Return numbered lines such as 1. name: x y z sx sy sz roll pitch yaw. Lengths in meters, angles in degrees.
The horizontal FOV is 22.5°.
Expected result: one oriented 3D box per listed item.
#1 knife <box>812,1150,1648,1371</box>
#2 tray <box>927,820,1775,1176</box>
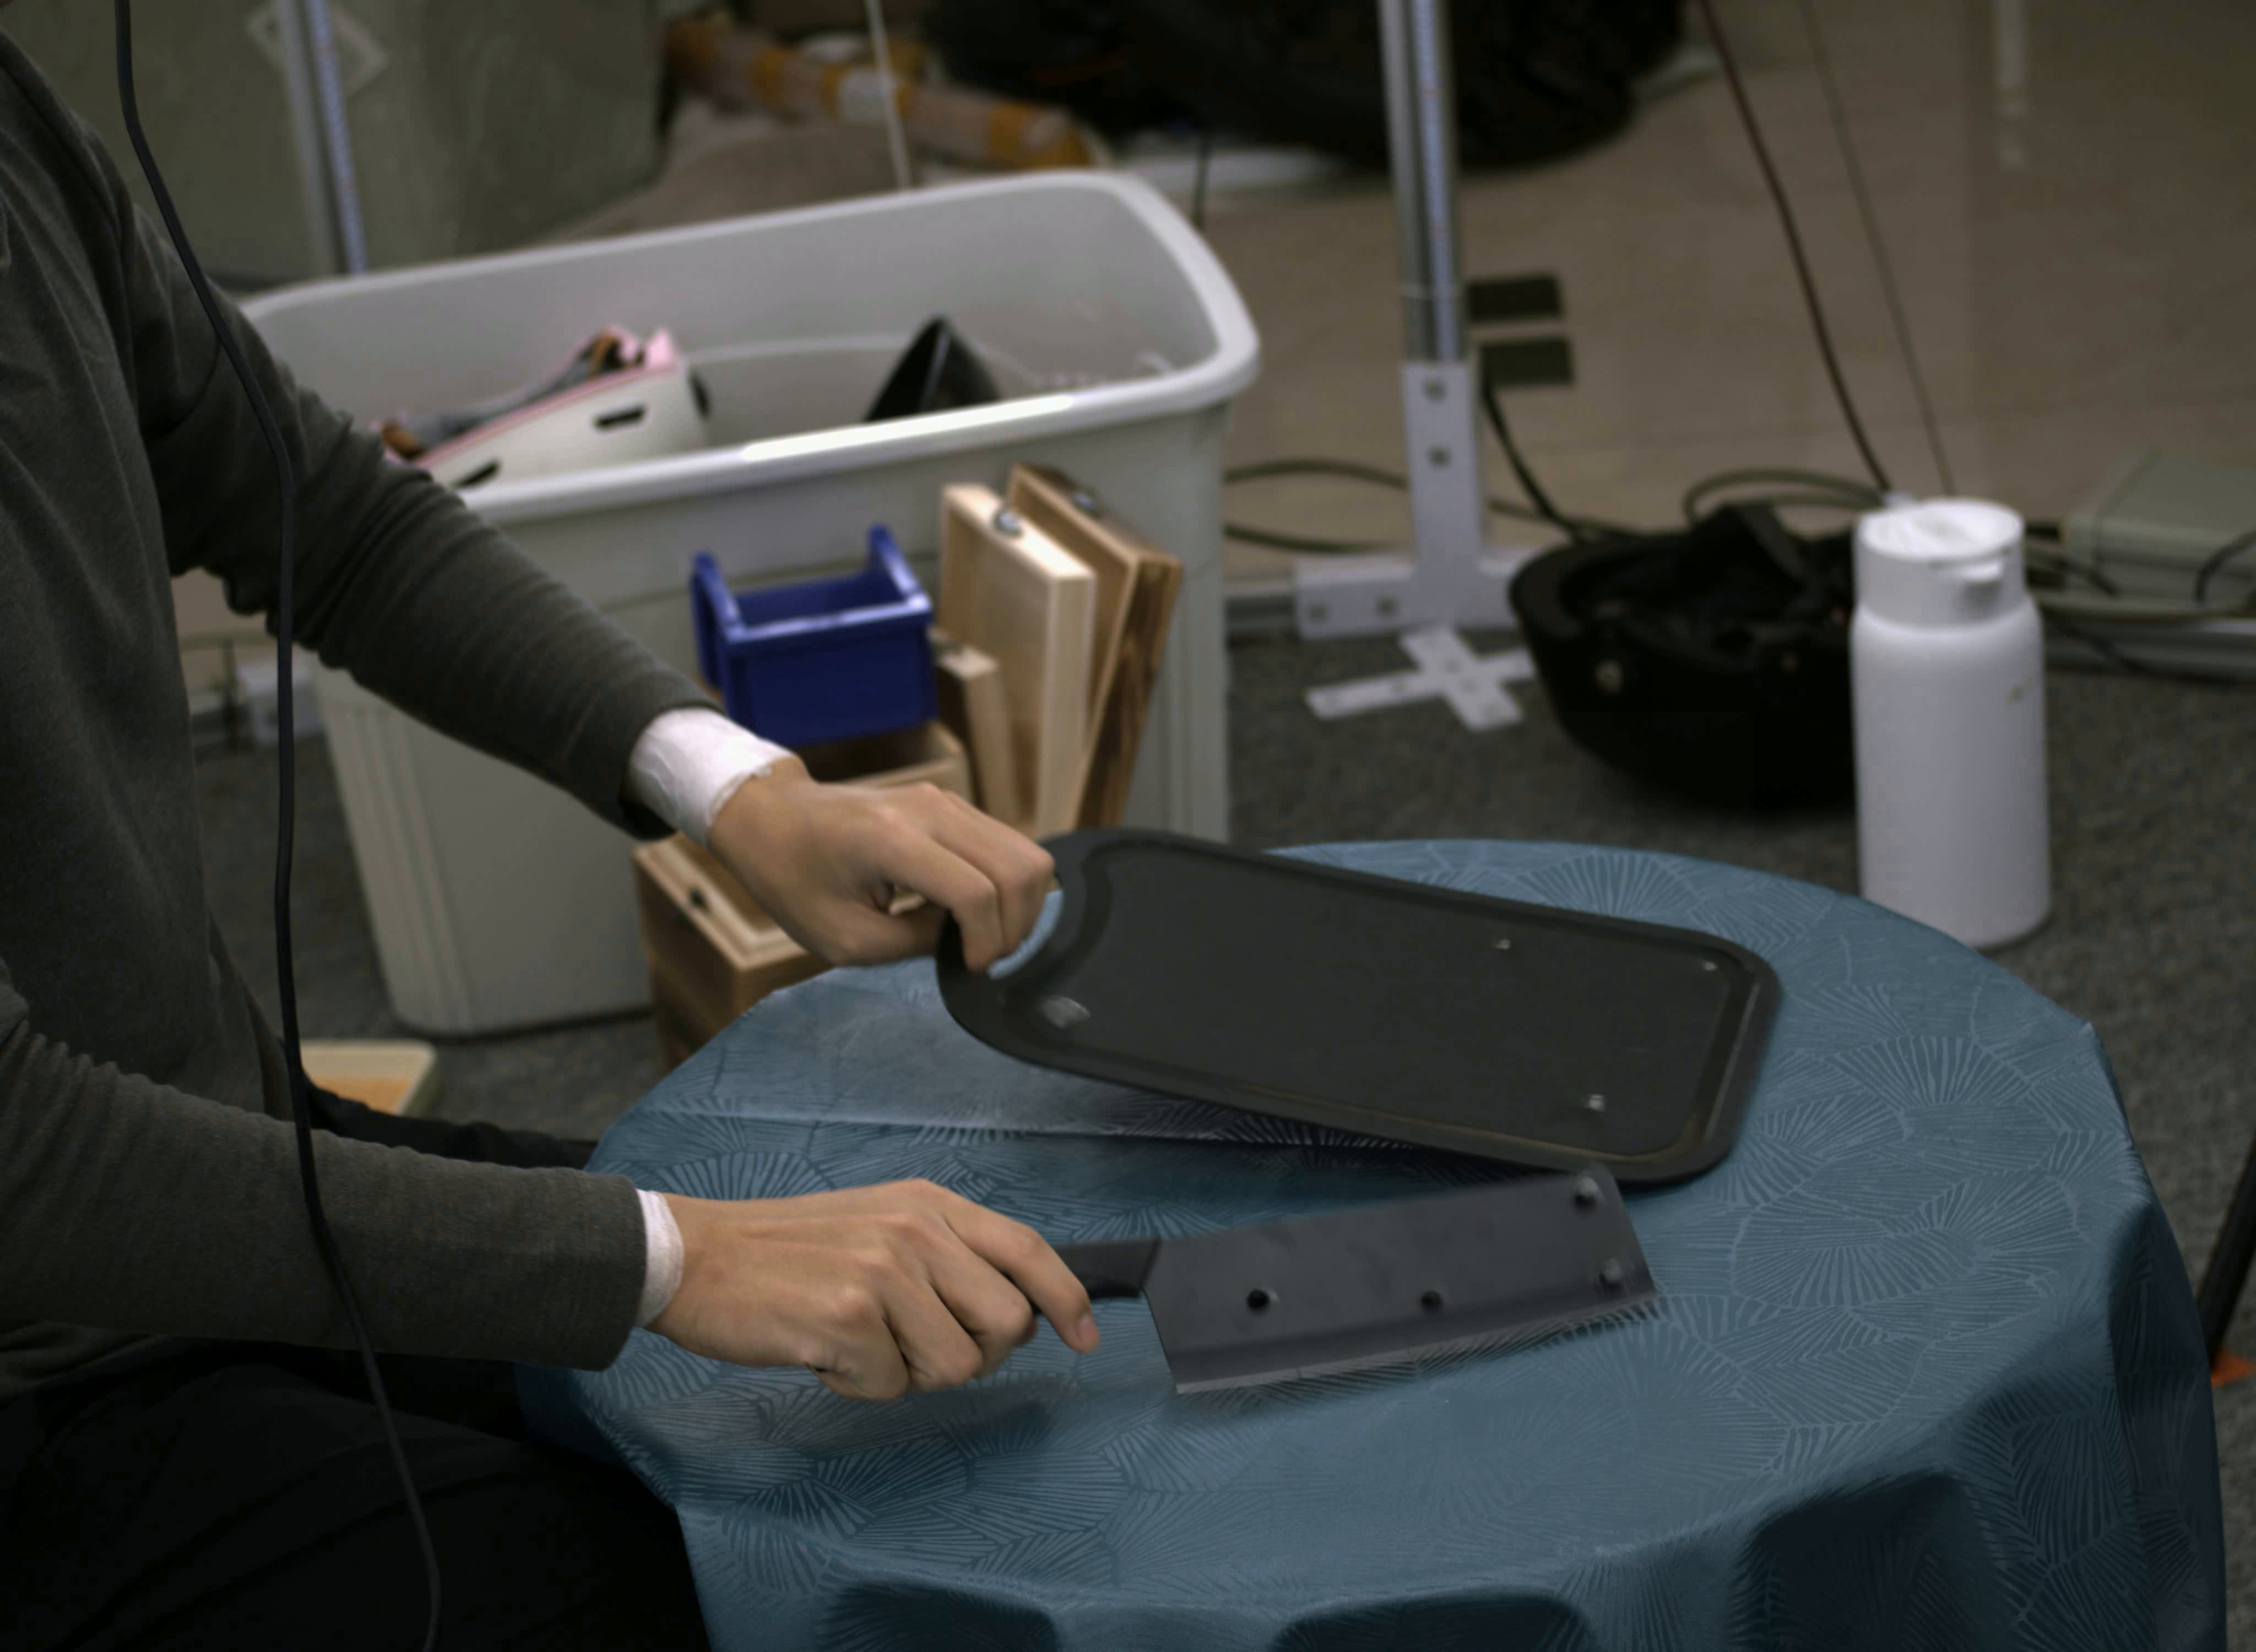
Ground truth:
1. knife: 0.035 0.162 2.016 0.302 0.021 0.079 -6 49 -10
2. tray: 0.083 0.062 2.214 0.324 0.010 0.208 12 28 11
